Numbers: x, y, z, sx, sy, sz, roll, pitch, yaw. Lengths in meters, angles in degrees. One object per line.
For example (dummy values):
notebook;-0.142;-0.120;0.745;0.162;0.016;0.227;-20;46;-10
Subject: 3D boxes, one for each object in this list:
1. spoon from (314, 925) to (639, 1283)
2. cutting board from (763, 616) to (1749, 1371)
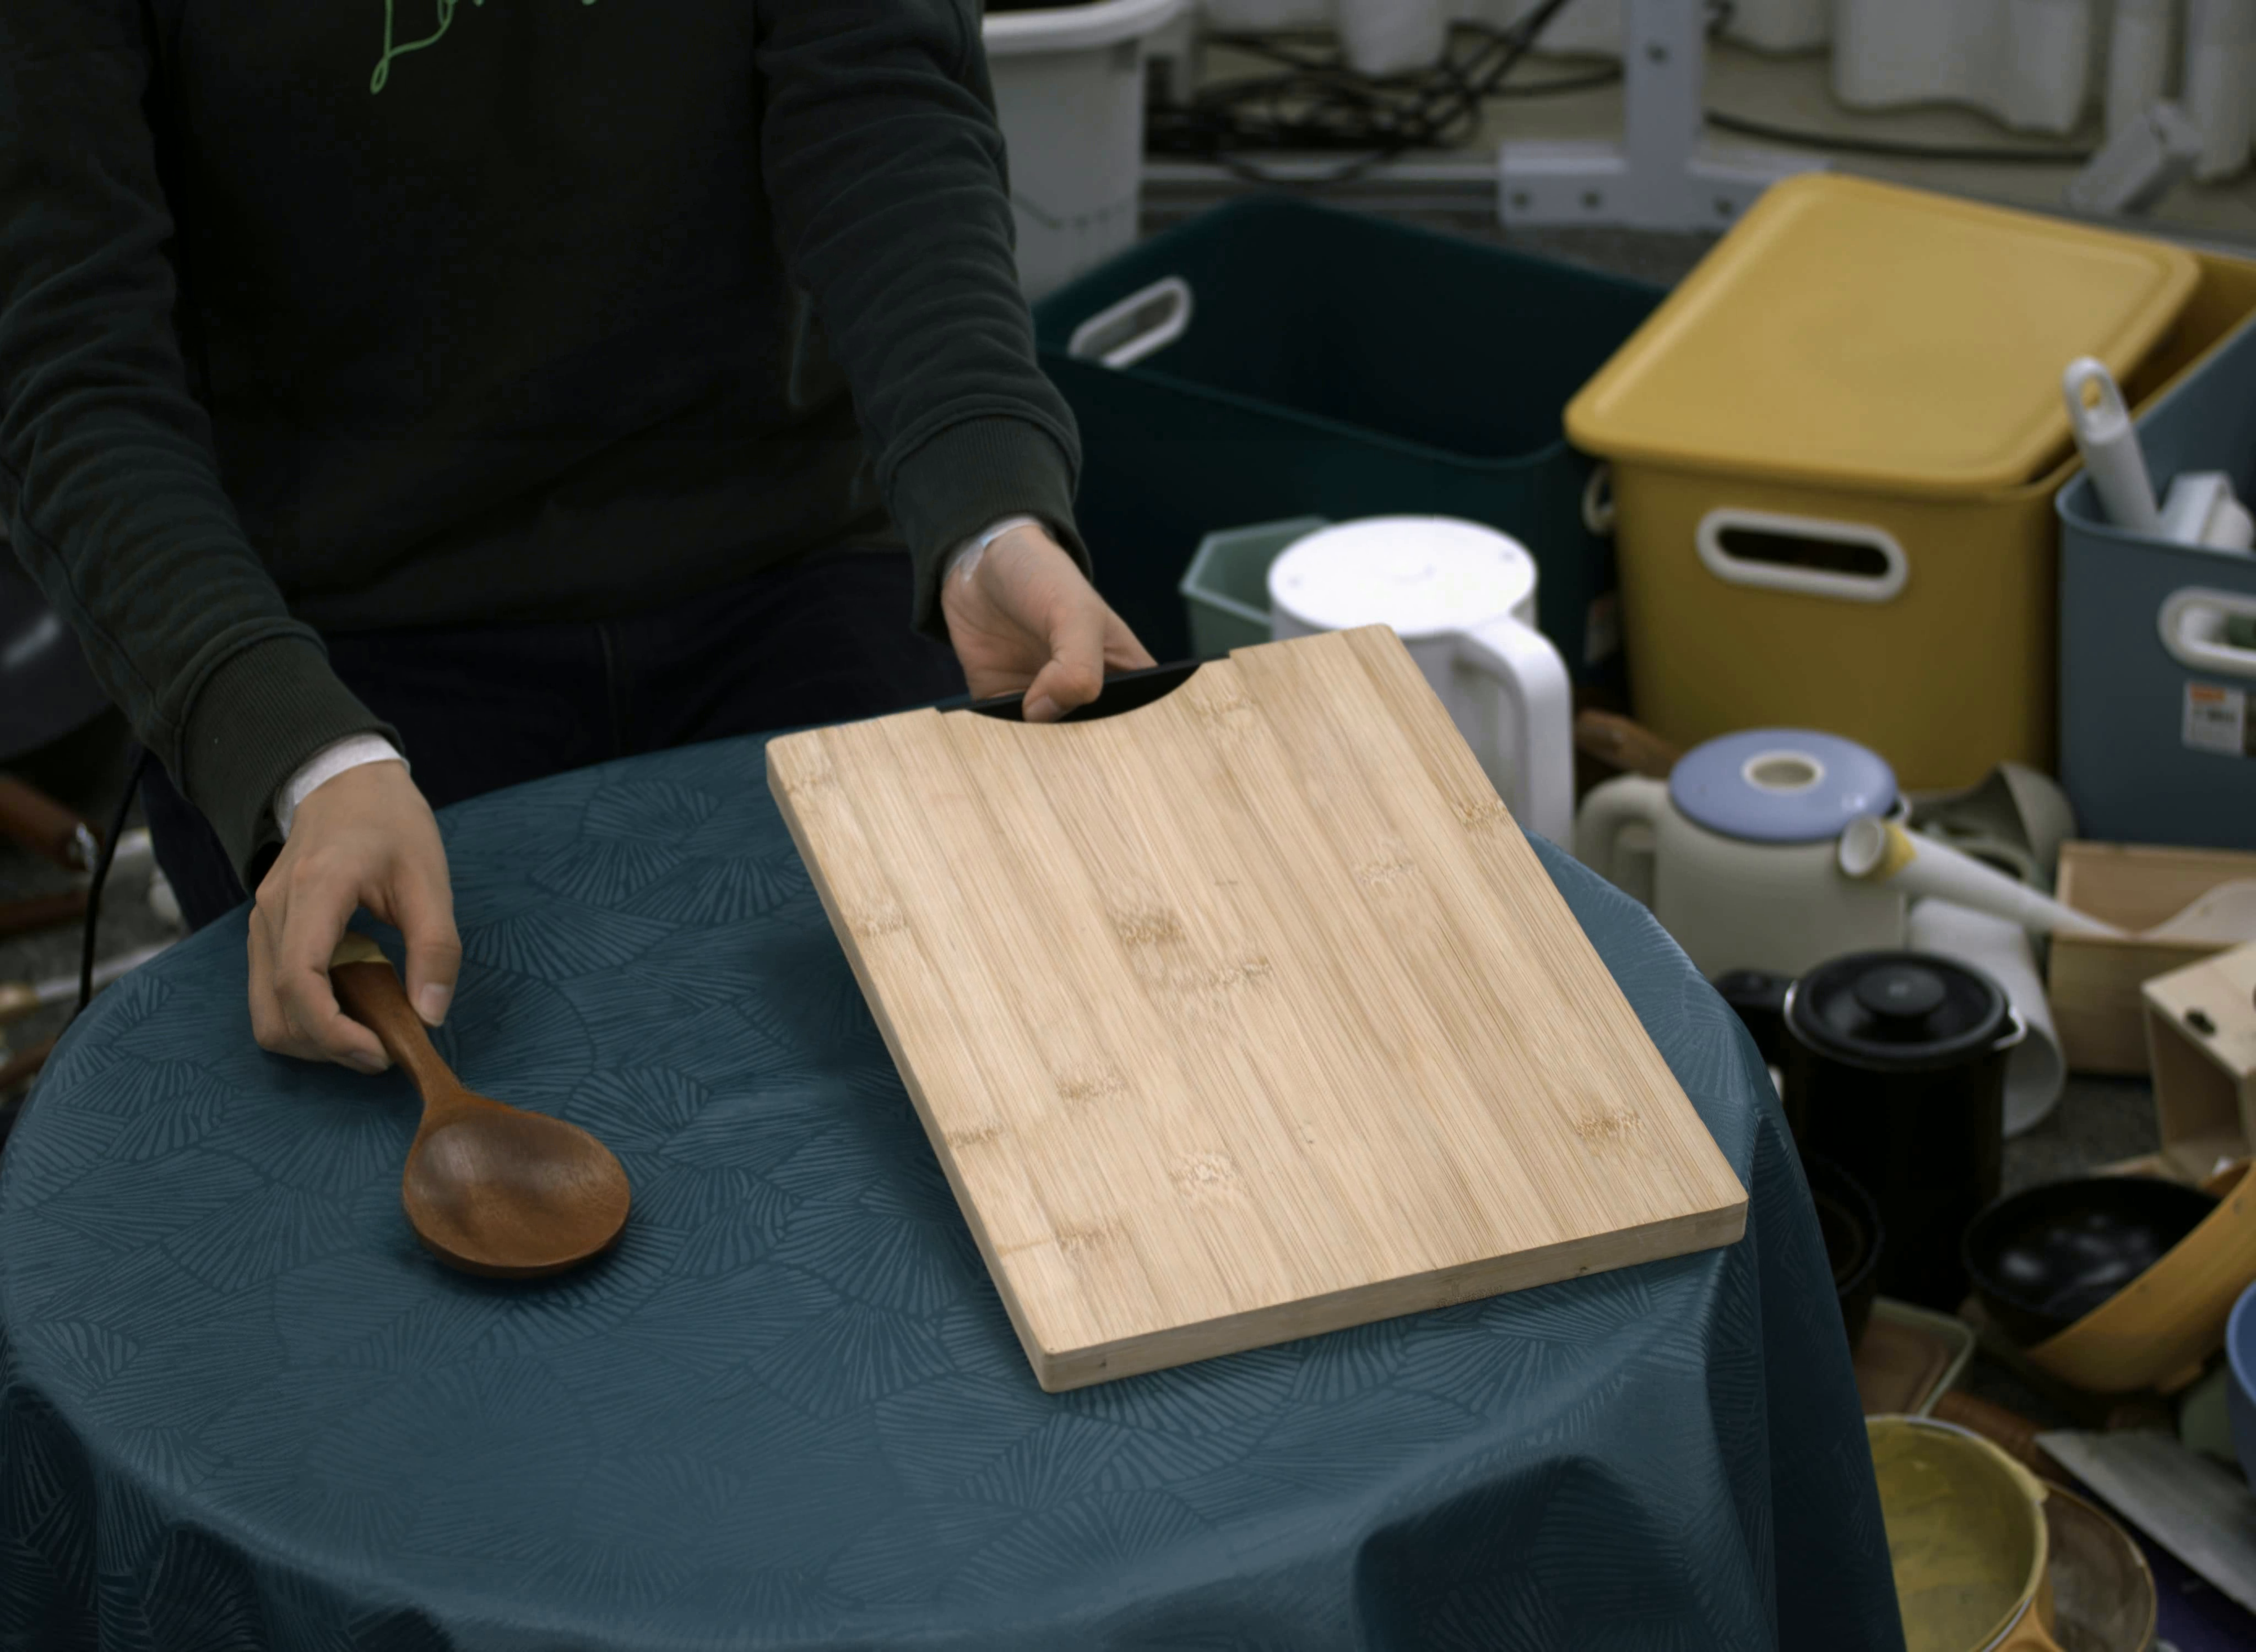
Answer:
spoon;-0.229;0.094;1.900;0.076;0.017;0.217;-17;37;-21
cutting board;0.034;0.049;1.918;0.251;0.023;0.353;-11;38;-16
